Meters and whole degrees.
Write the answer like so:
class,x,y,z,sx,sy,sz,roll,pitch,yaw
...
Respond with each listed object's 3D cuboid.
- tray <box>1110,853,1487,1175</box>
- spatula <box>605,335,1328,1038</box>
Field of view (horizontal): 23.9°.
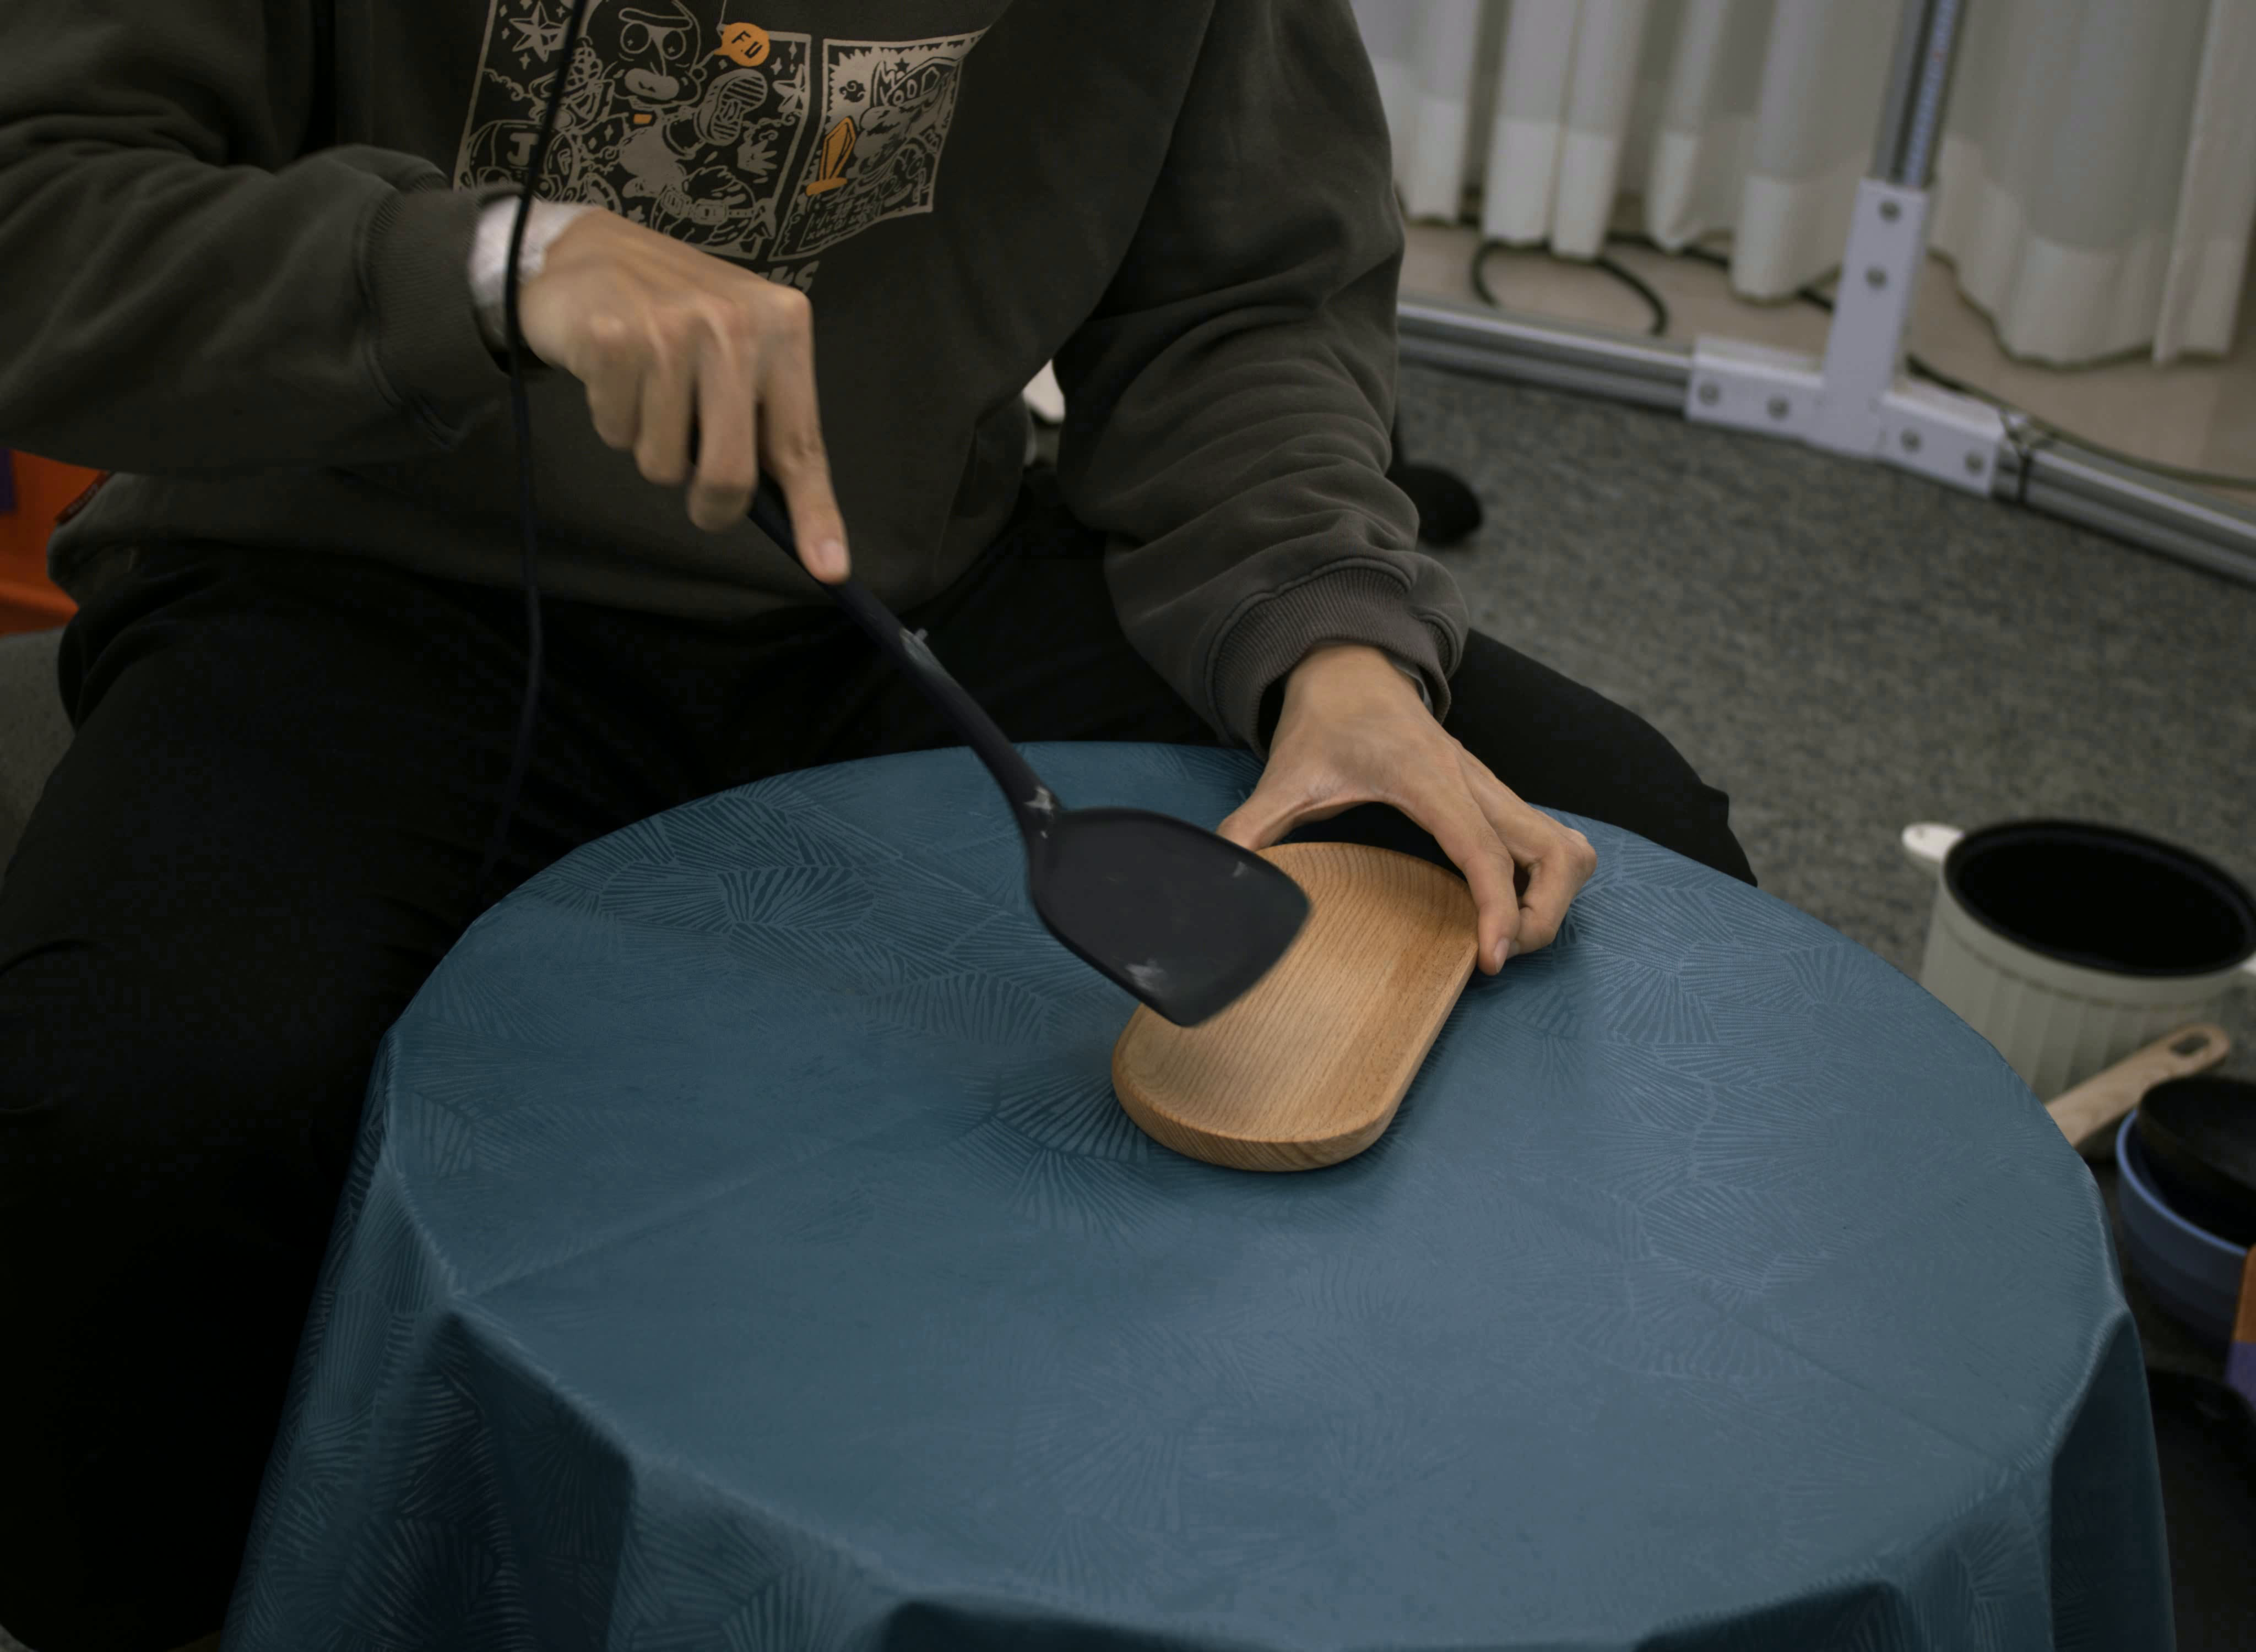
class,x,y,z,sx,sy,sz,roll,pitch,yaw
tray,0.063,0.066,1.915,0.102,0.020,0.231,12,28,14
spatula,-0.065,-0.057,1.852,0.326,0.040,0.099,48,41,1
